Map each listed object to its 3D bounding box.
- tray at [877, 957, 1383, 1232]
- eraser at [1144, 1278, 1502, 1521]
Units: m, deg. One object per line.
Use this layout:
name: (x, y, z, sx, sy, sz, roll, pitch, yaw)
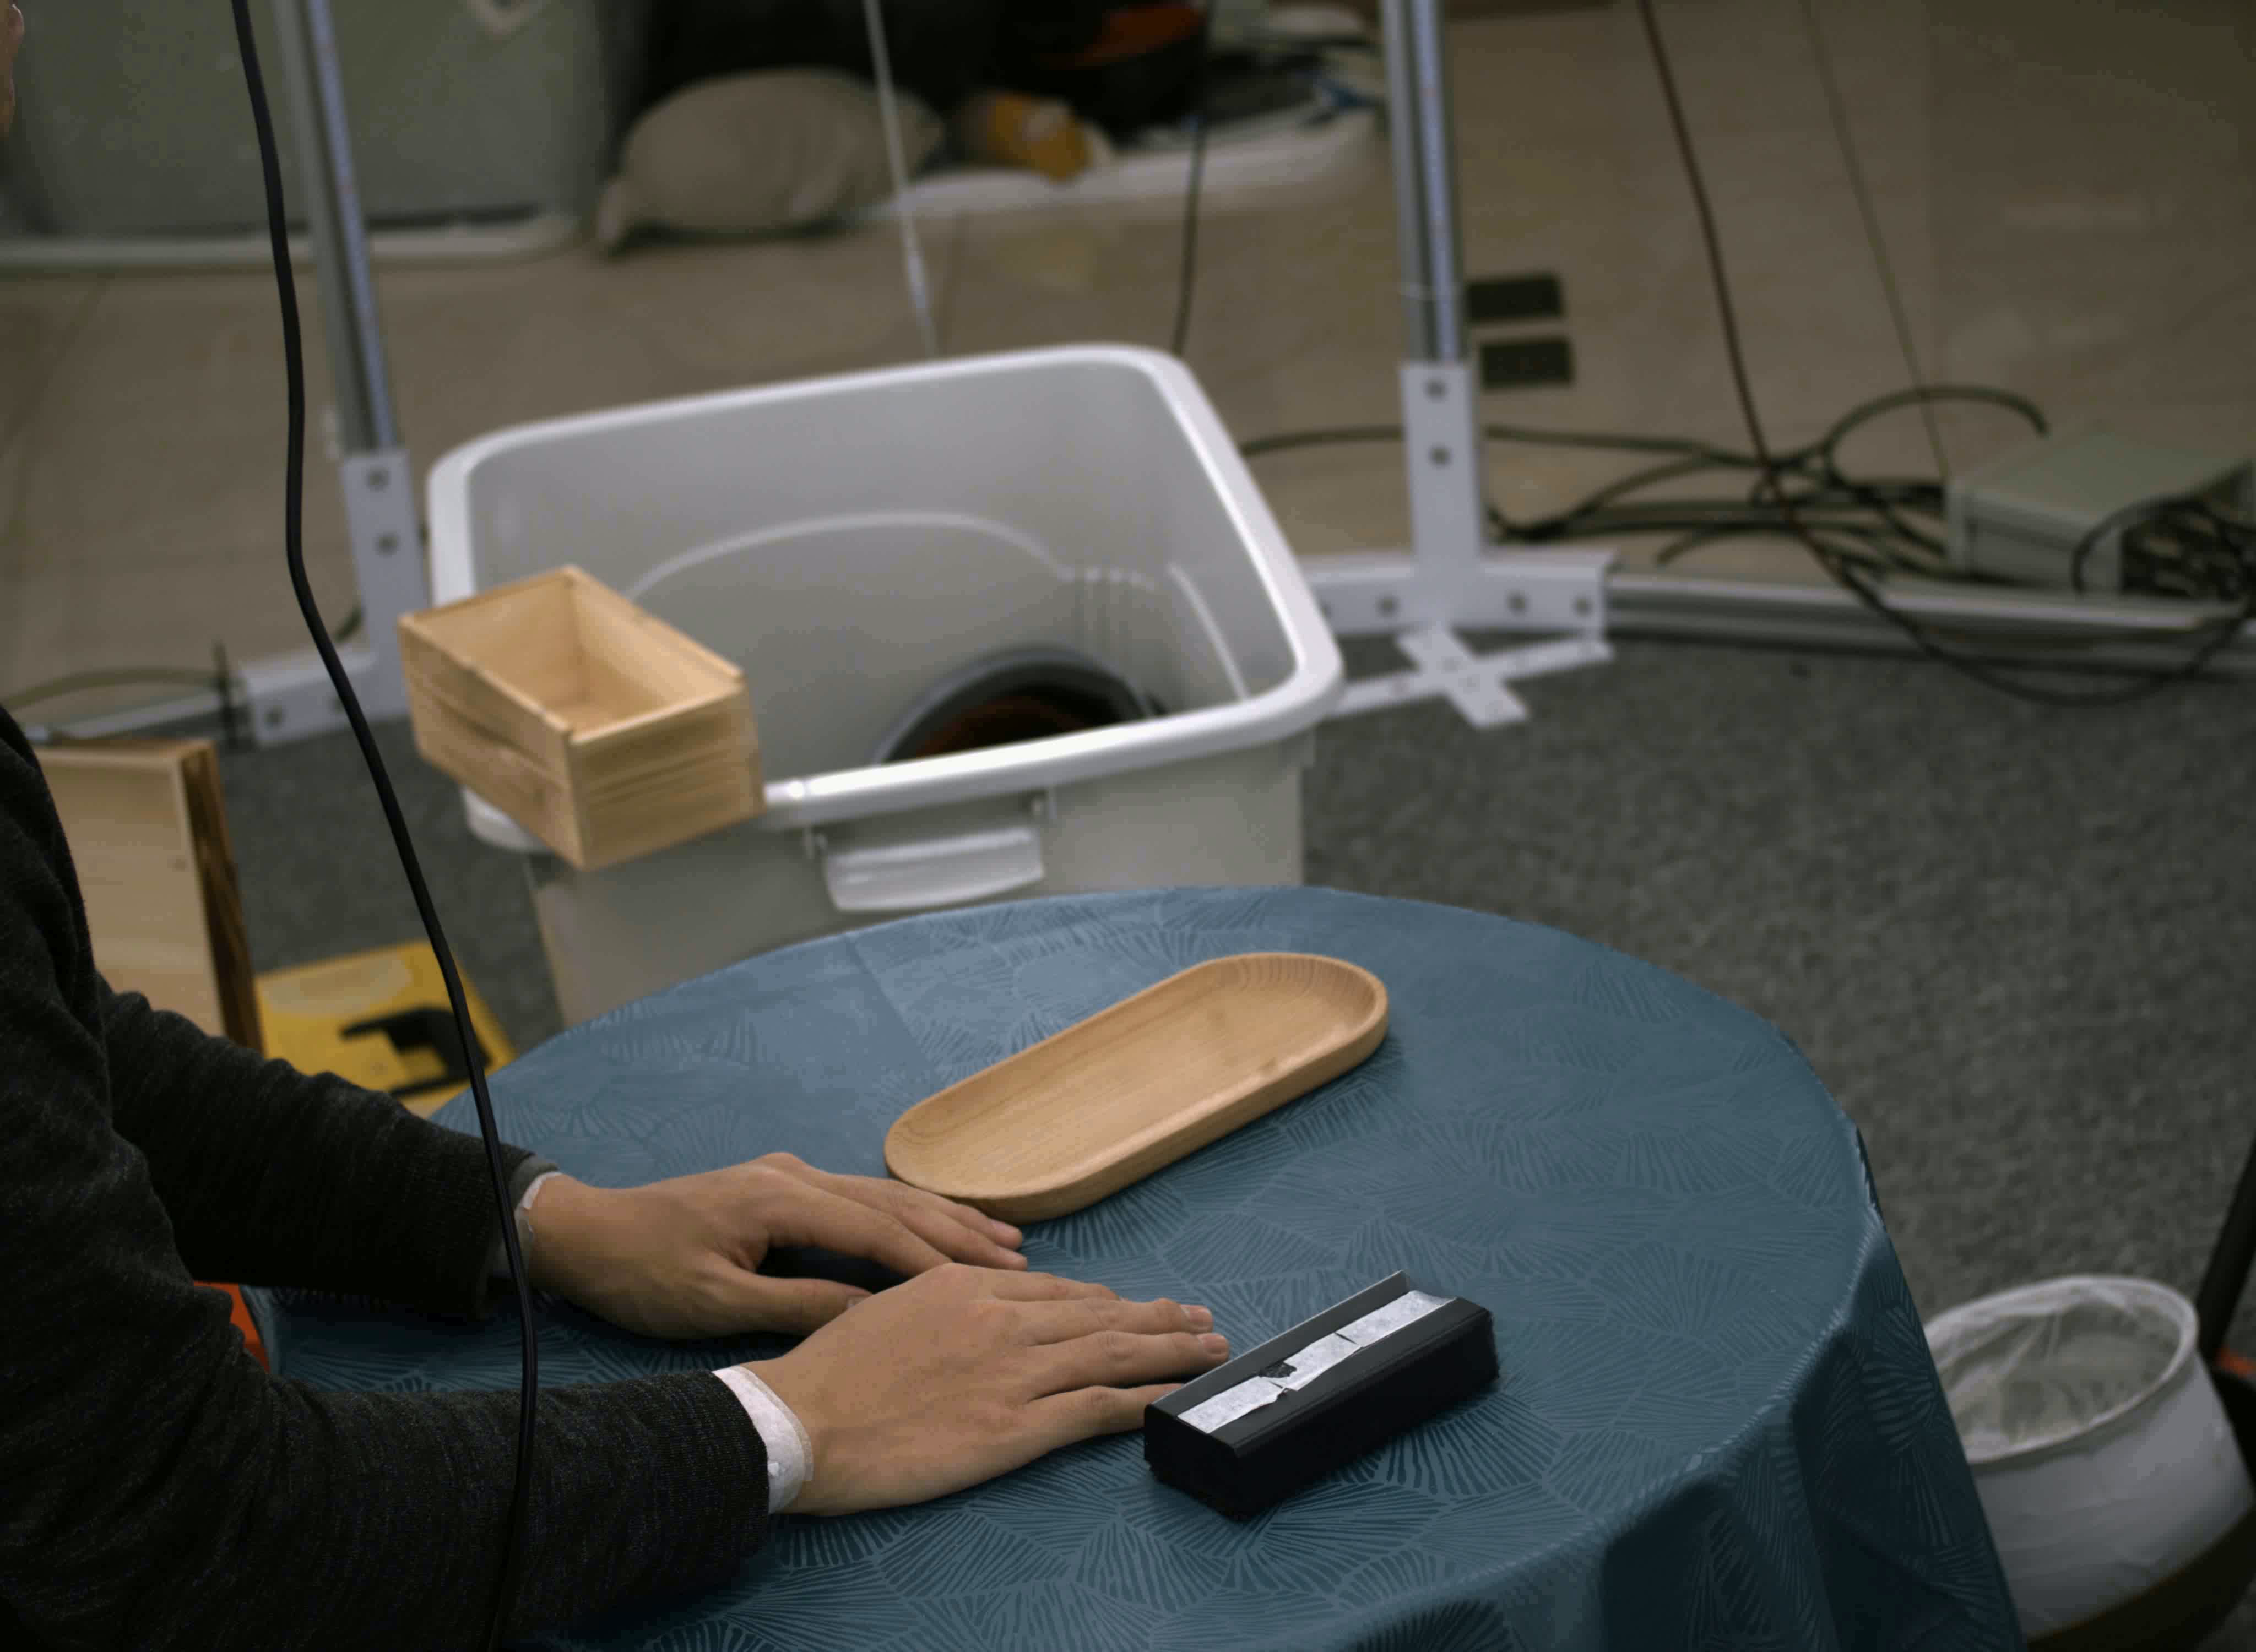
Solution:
tray: (0.003, 0.103, 2.205, 0.229, 0.020, 0.101, -27, 30, -34)
eraser: (0.069, 0.197, 1.973, 0.124, 0.031, 0.053, -26, 29, -33)
